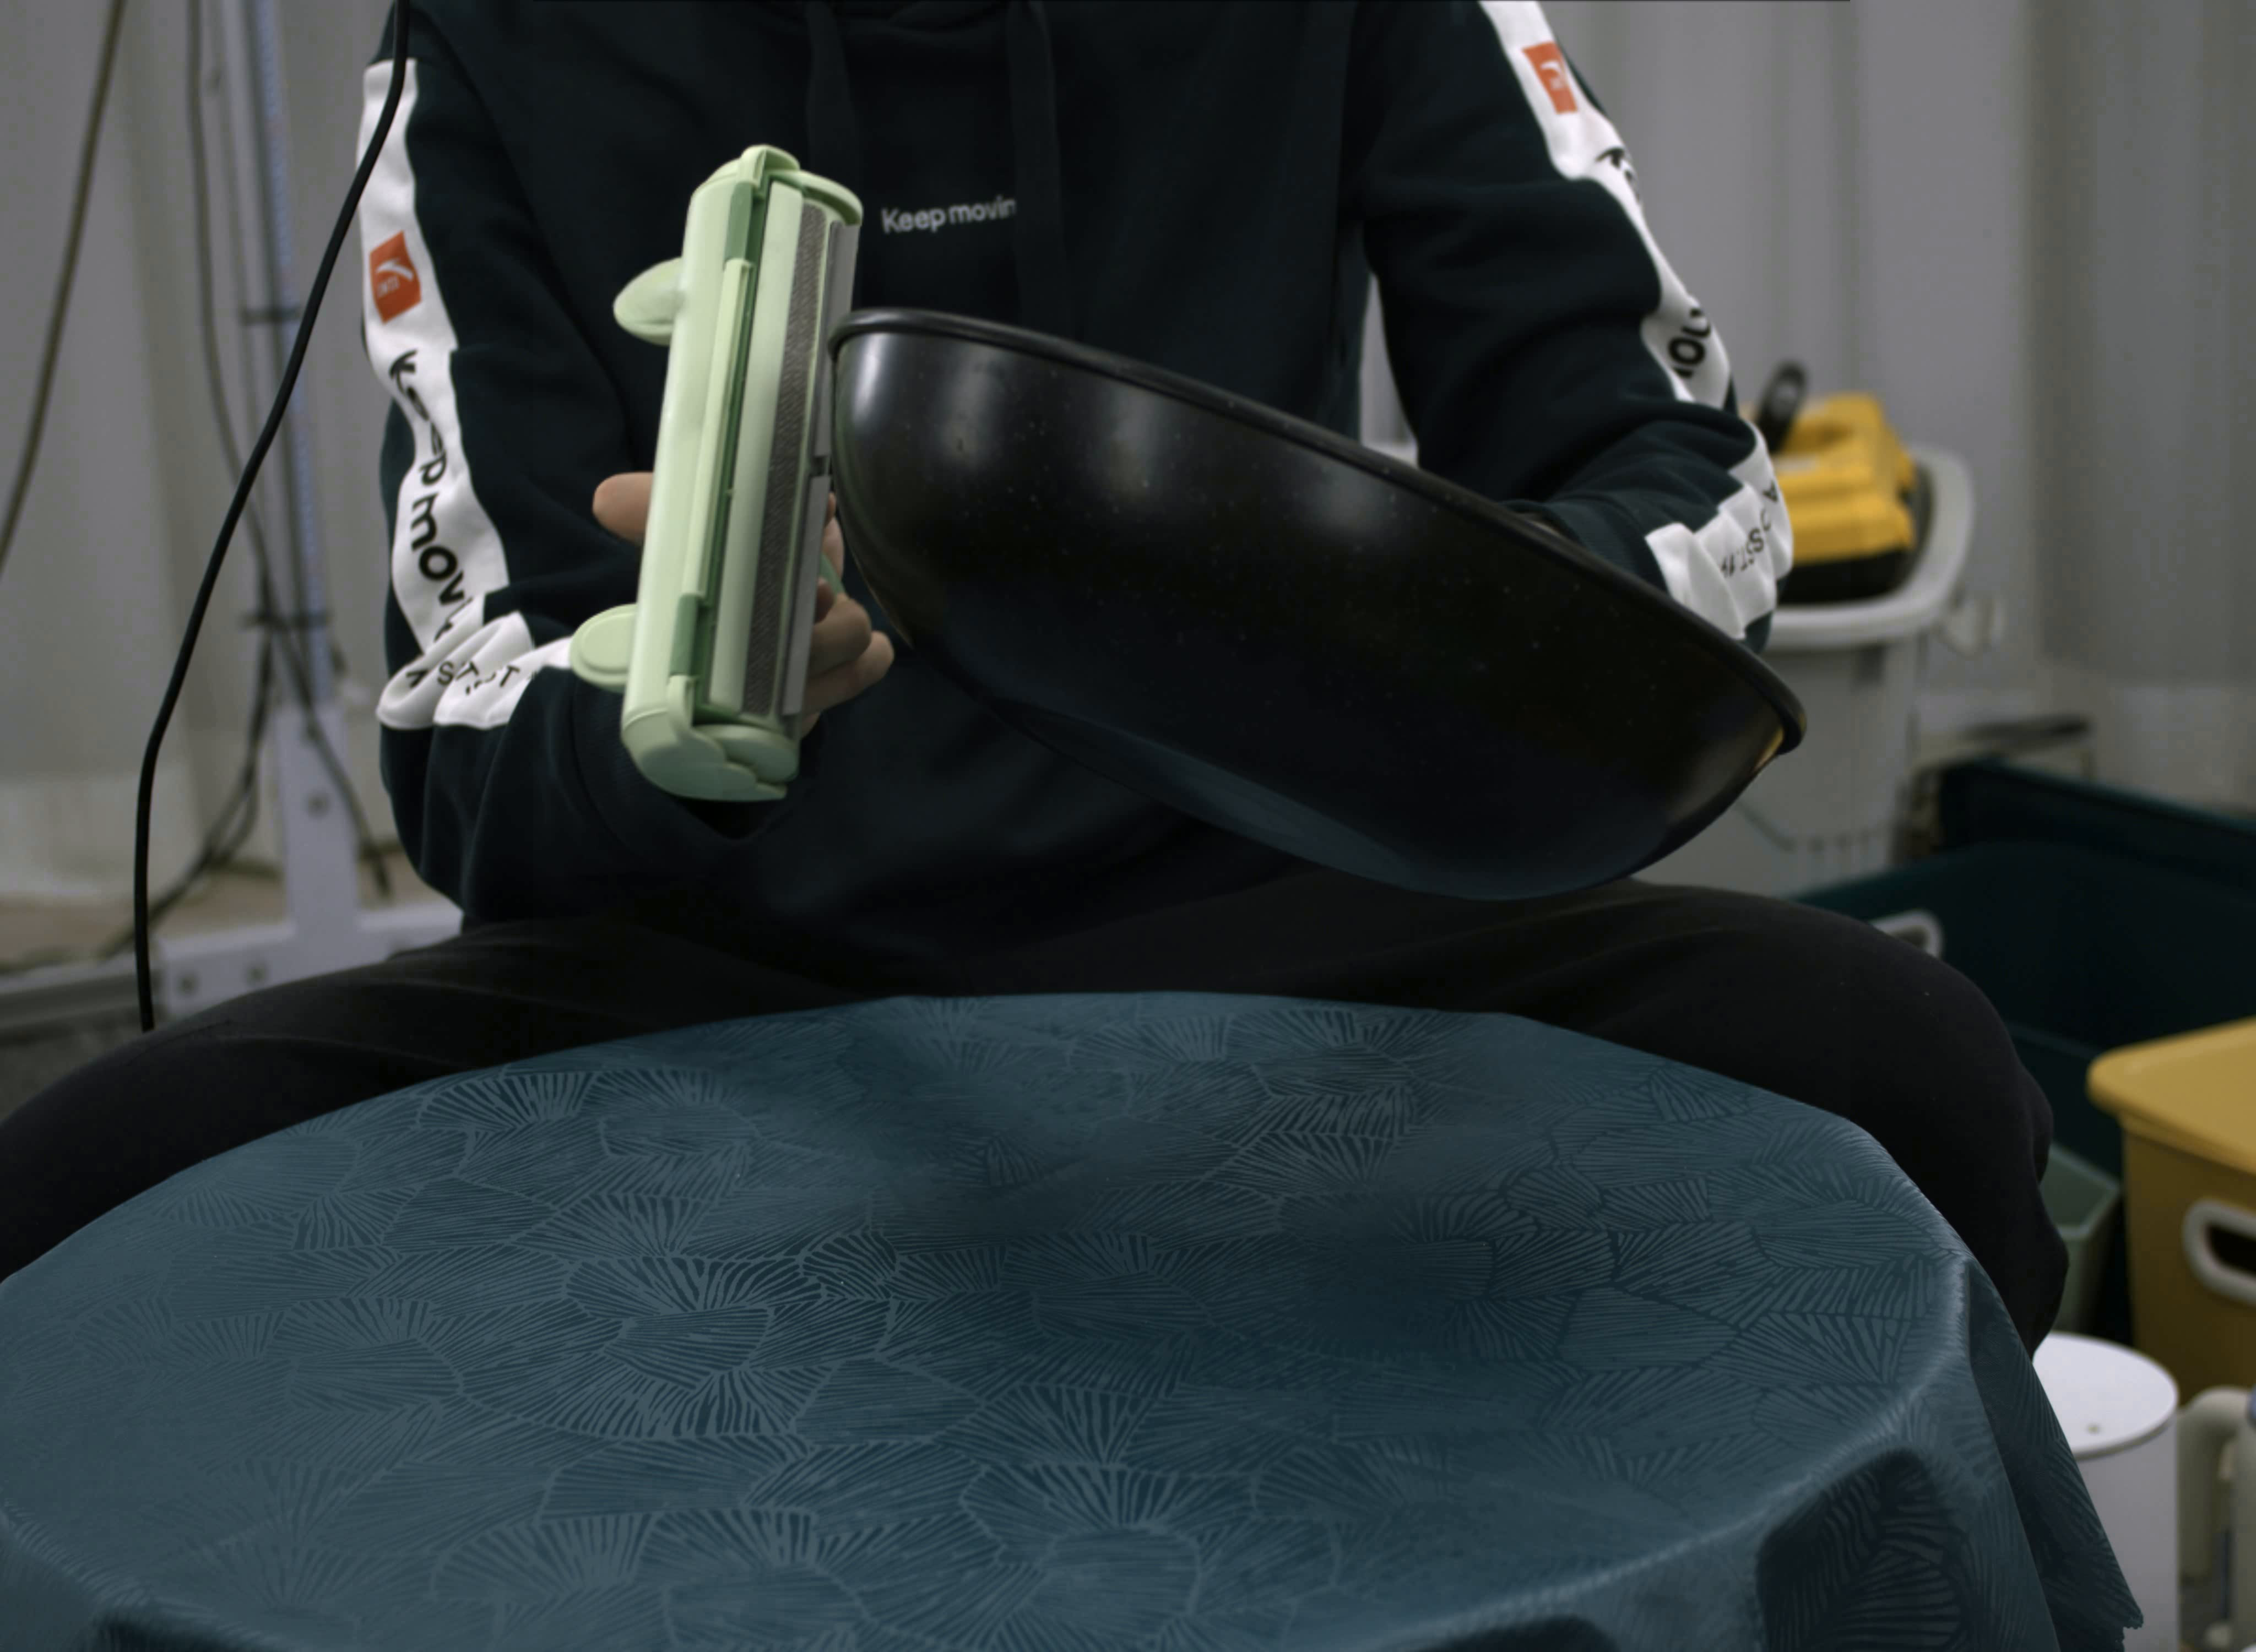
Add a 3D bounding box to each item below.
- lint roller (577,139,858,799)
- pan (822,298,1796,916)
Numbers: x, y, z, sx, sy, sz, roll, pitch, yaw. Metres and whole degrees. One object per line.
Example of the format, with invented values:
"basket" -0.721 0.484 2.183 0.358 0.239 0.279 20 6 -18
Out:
"lint roller" -0.126 -0.090 1.710 0.082 0.201 0.182 6 -21 -3
"pan" 0.065 -0.040 1.672 0.311 0.112 0.473 22 -6 21
